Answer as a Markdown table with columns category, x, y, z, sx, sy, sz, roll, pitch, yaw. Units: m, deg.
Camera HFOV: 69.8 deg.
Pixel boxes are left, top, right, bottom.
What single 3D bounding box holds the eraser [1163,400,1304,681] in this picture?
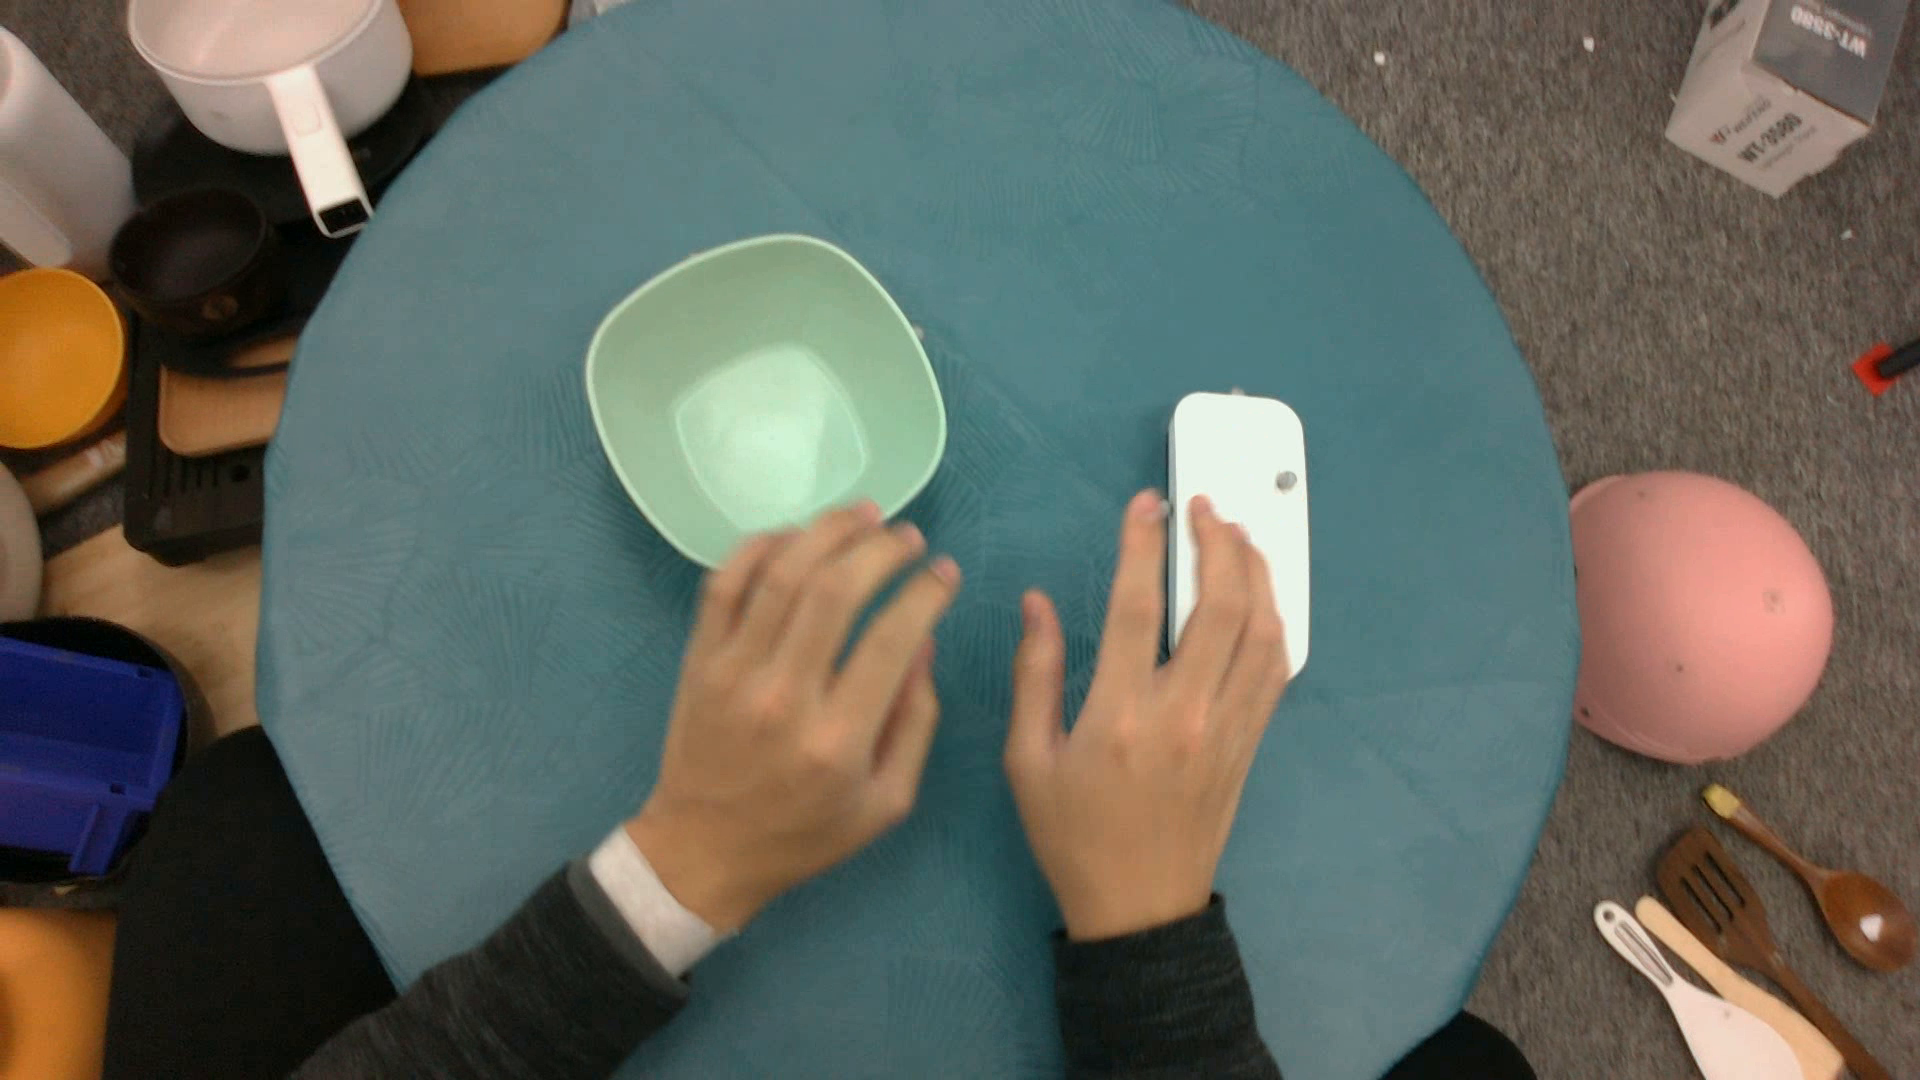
| category | x | y | z | sx | sy | sz | roll | pitch | yaw |
| --- | --- | --- | --- | --- | --- | --- | --- | --- | --- |
| eraser | 0.122 | -0.001 | 0.632 | 0.063 | 0.034 | 0.131 | 4 | 72 | -5 |

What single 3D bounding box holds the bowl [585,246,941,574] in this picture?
| category | x | y | z | sx | sy | sz | roll | pitch | yaw |
| --- | --- | --- | --- | --- | --- | --- | --- | --- | --- |
| bowl | -0.085 | -0.050 | 0.603 | 0.151 | 0.058 | 0.152 | 2 | 72 | -7 |
